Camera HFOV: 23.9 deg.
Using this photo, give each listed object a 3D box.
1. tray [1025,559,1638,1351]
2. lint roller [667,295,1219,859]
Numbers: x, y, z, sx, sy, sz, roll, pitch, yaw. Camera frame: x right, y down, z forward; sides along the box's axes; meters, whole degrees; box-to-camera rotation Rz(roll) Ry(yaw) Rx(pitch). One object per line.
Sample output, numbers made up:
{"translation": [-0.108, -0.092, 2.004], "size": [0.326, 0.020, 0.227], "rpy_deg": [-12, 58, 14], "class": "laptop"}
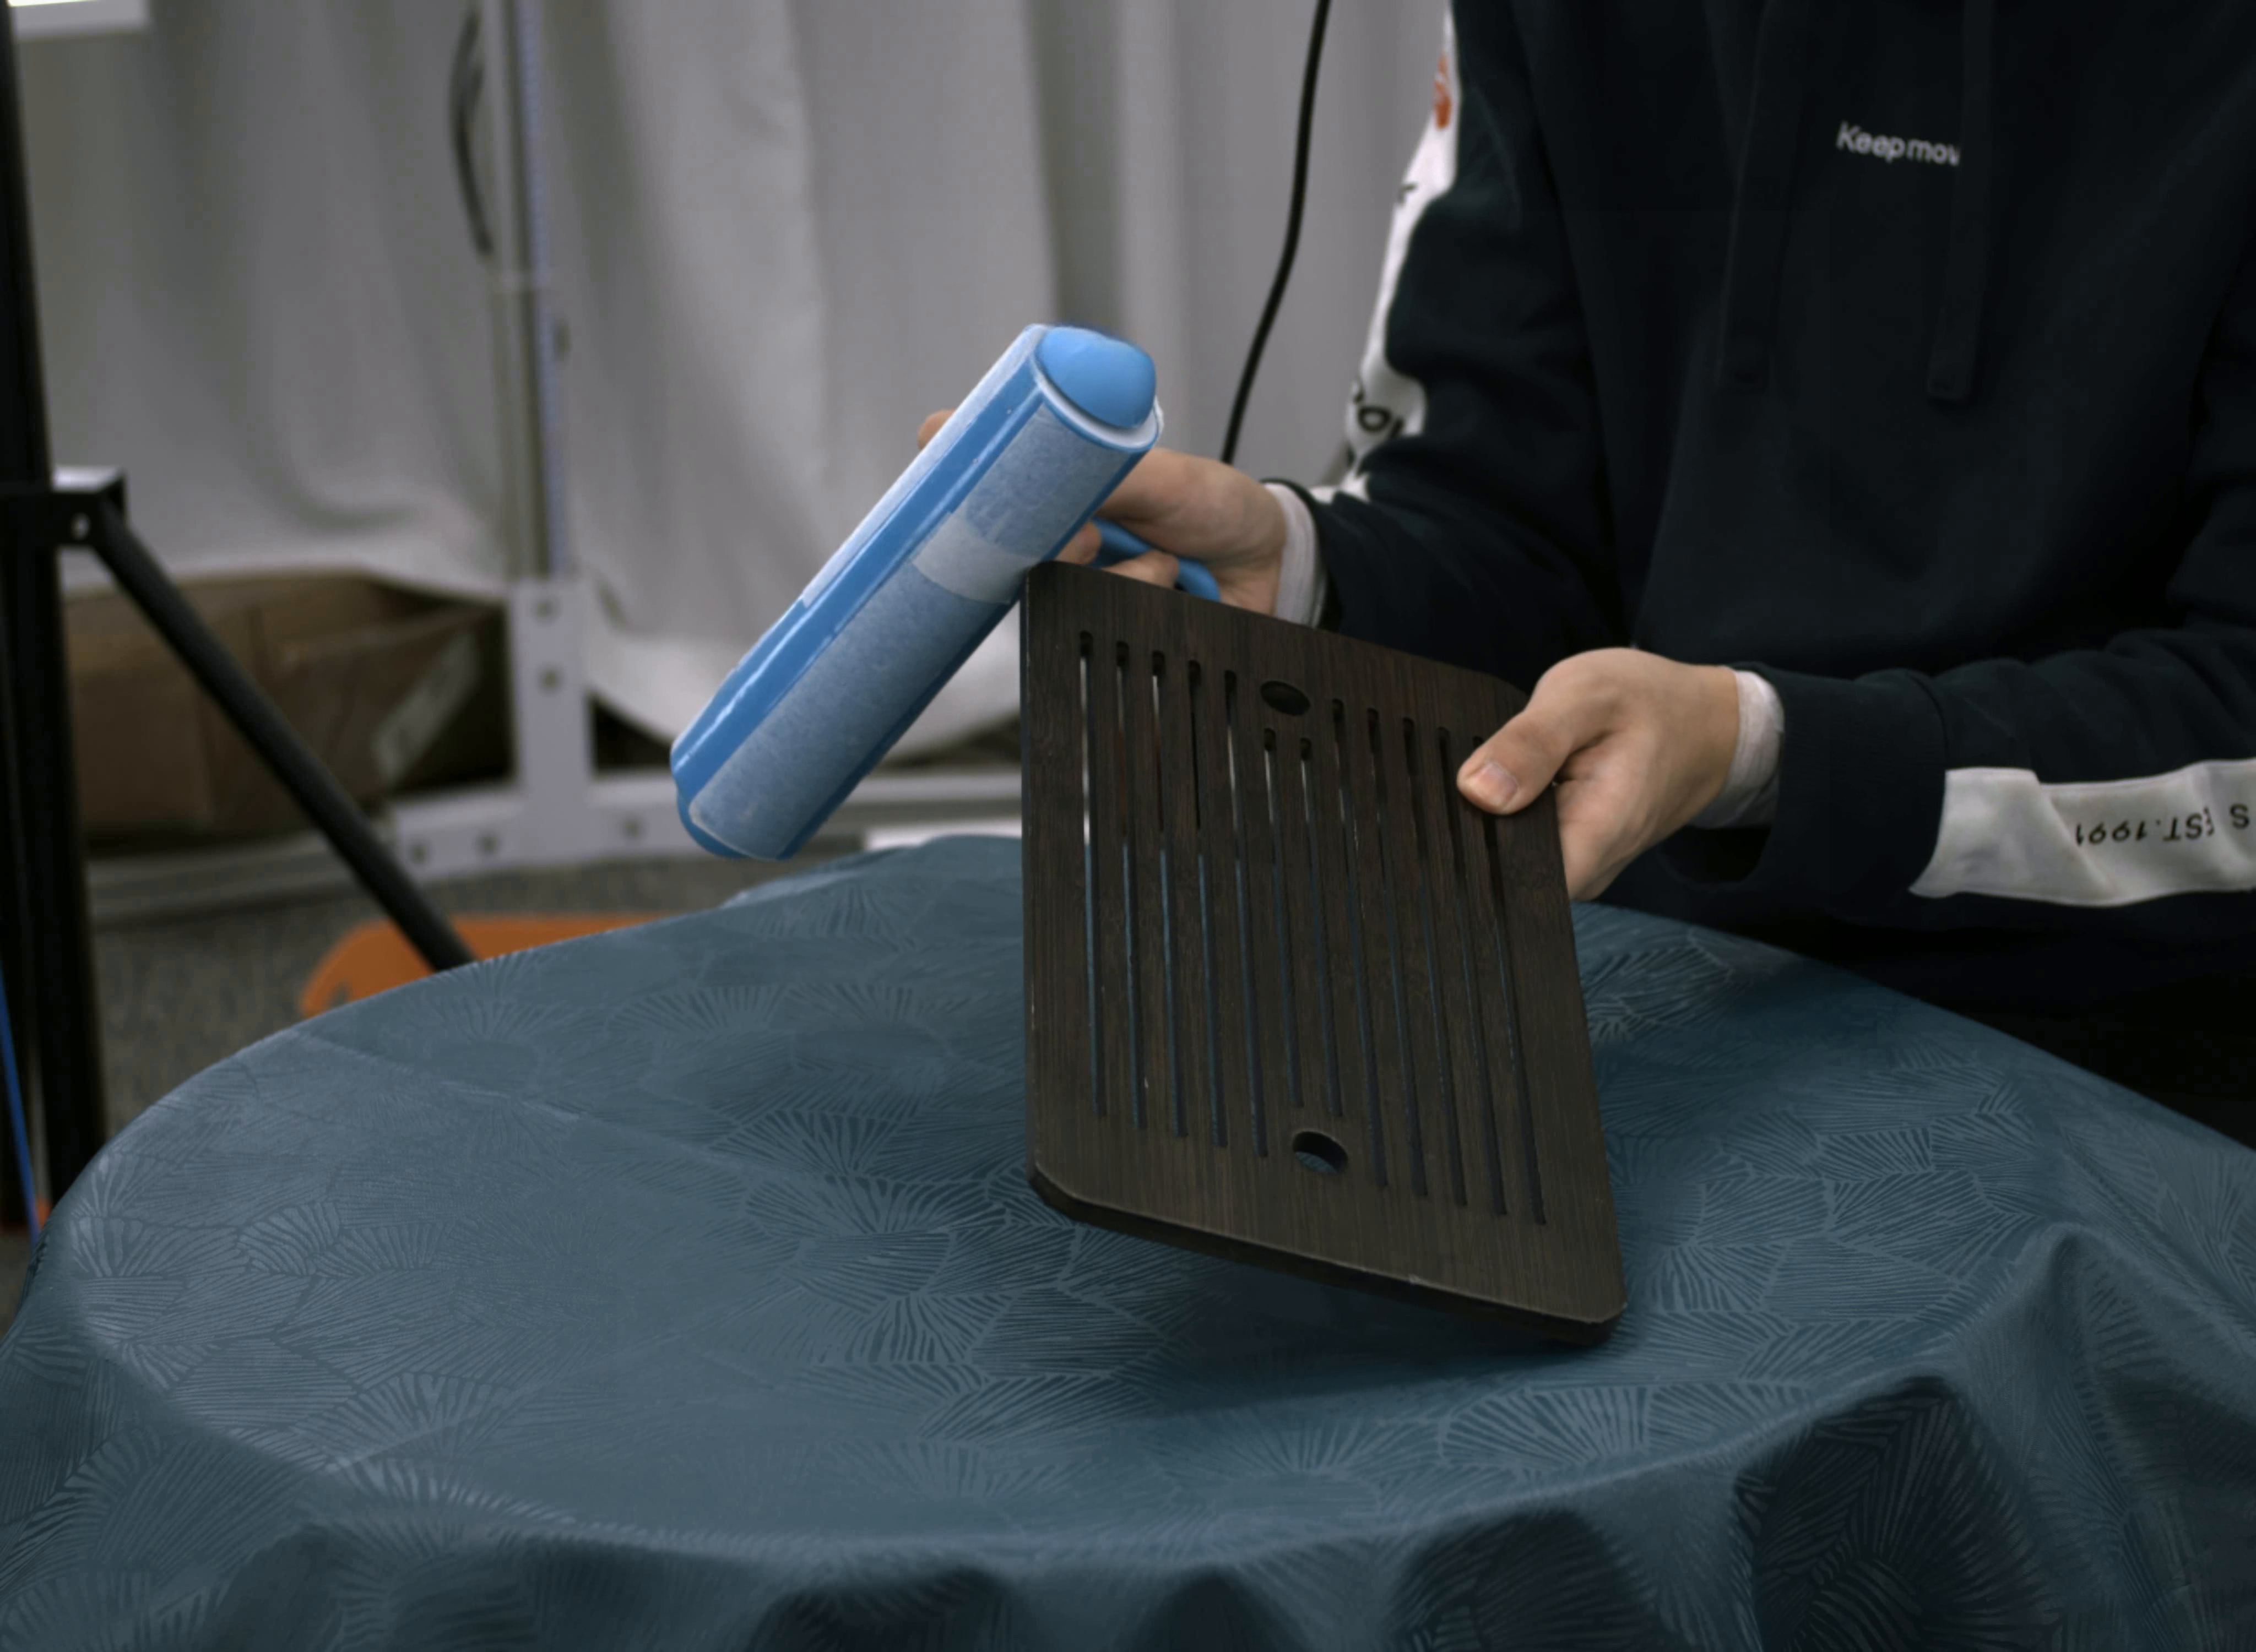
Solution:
{"translation": [0.052, 0.033, 1.526], "size": [0.168, 0.018, 0.309], "rpy_deg": [13, 34, -11], "class": "tray"}
{"translation": [-0.039, -0.078, 1.706], "size": [0.069, 0.231, 0.176], "rpy_deg": [50, 27, 17], "class": "lint roller"}
